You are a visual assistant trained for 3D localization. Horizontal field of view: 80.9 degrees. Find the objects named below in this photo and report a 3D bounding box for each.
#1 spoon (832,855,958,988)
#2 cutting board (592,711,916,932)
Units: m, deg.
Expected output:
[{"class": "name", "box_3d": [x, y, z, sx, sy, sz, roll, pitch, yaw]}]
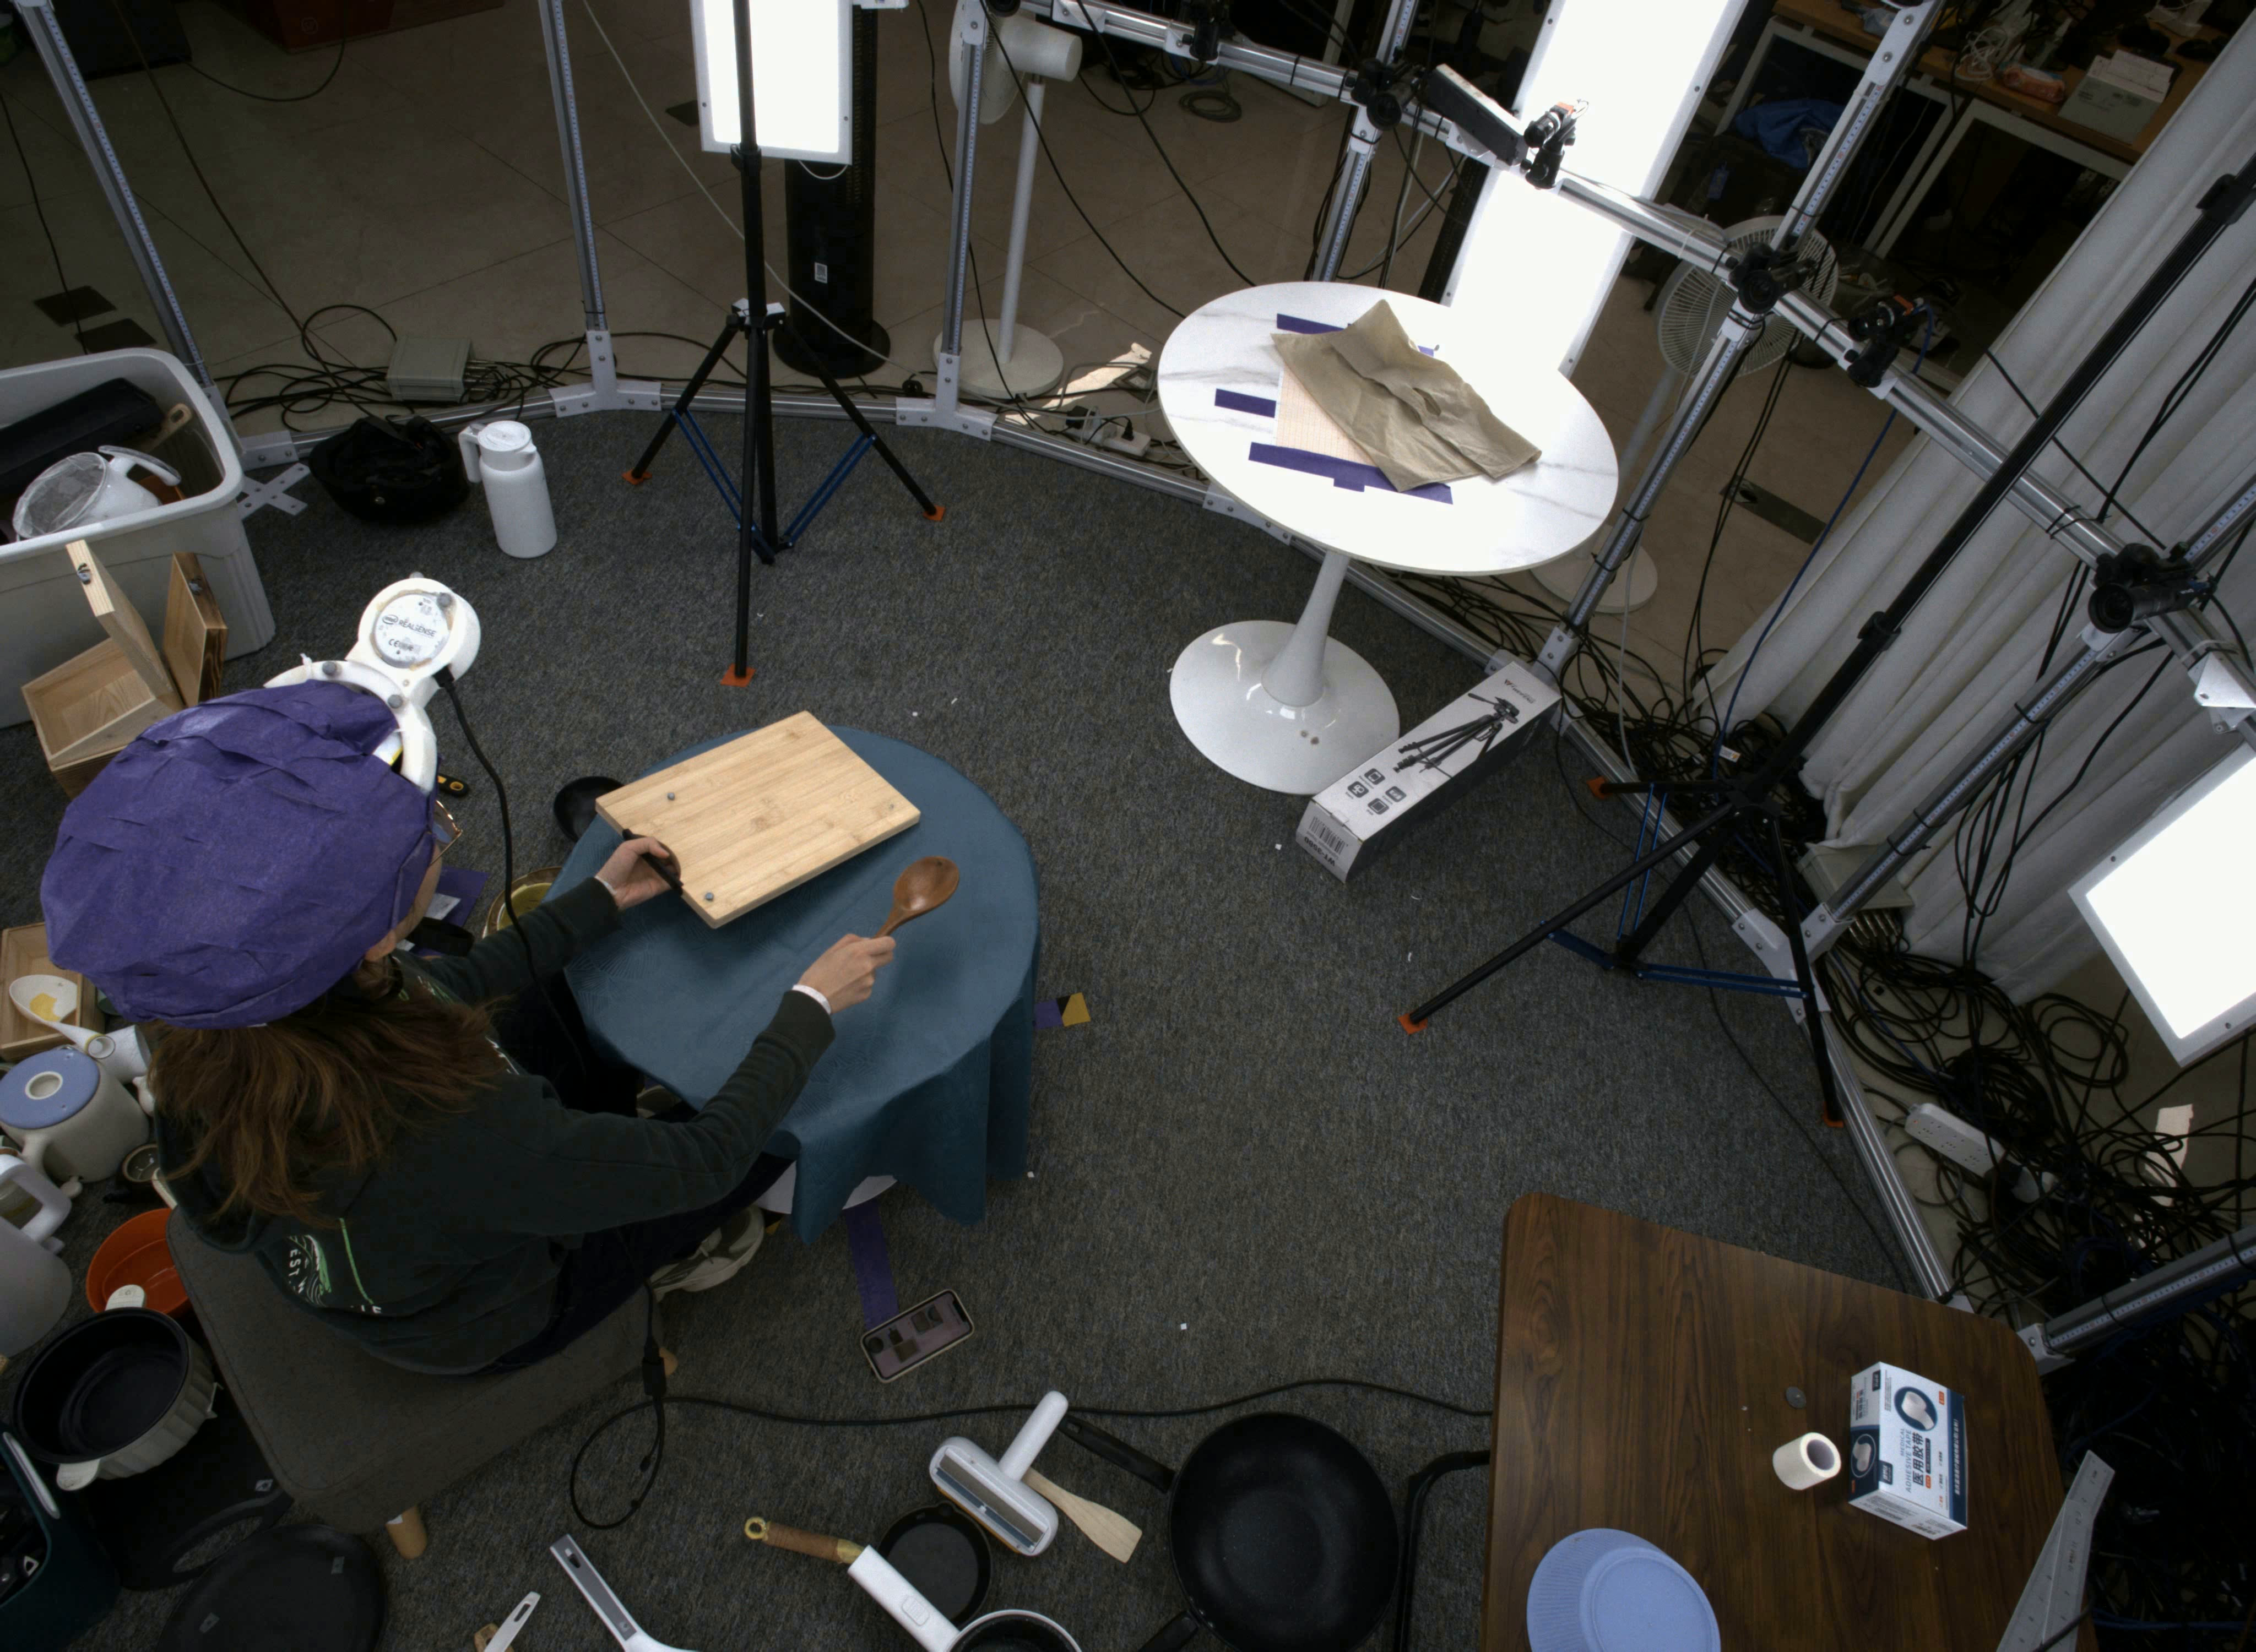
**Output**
[{"class": "spoon", "box_3d": [-0.282, 0.112, 1.559, 0.073, 0.018, 0.215, 25, 53, 19]}, {"class": "cutting board", "box_3d": [-0.477, -0.018, 1.674, 0.245, 0.024, 0.350, 39, 43, 16]}]
